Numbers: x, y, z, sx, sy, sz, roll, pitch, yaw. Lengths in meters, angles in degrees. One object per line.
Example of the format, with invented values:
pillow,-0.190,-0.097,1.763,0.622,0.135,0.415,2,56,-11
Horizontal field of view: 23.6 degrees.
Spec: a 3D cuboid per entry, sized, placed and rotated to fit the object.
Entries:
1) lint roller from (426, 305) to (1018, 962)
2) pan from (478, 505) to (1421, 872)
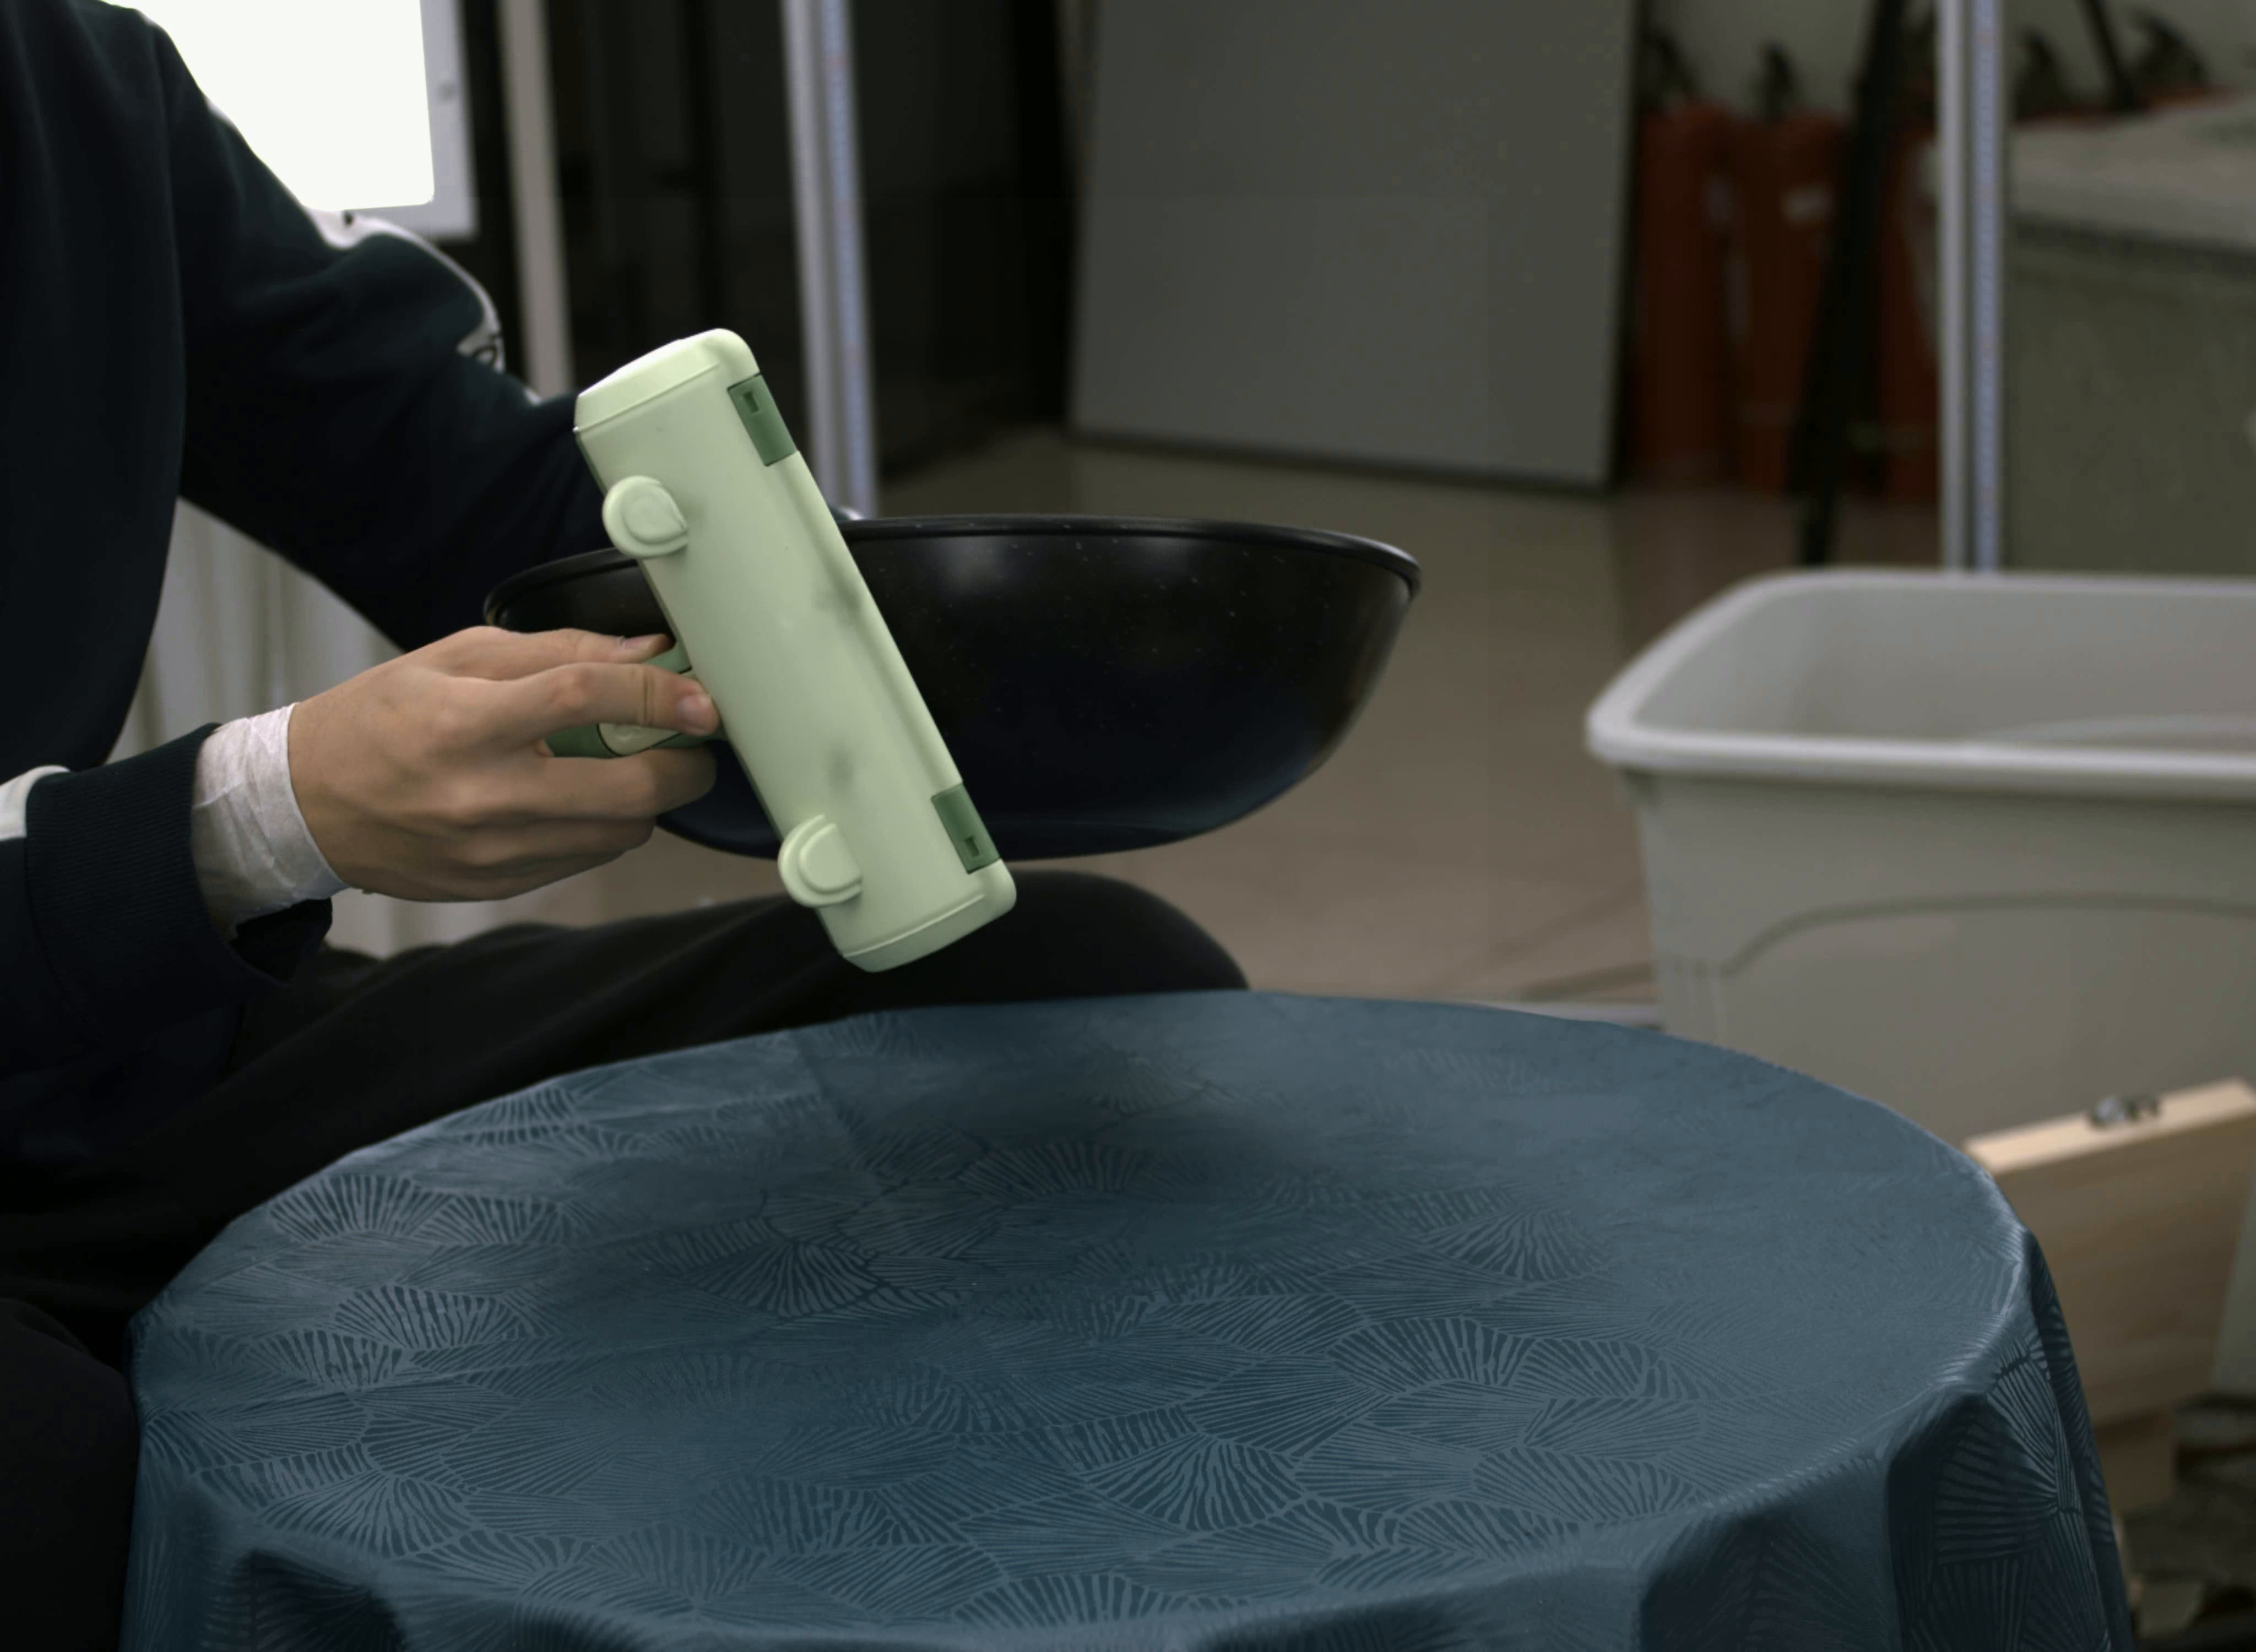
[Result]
lint roller,-0.149,-0.032,1.623,0.184,0.199,0.081,-25,7,24
pan,-0.042,-0.039,1.838,0.308,0.113,0.474,-3,-6,10
